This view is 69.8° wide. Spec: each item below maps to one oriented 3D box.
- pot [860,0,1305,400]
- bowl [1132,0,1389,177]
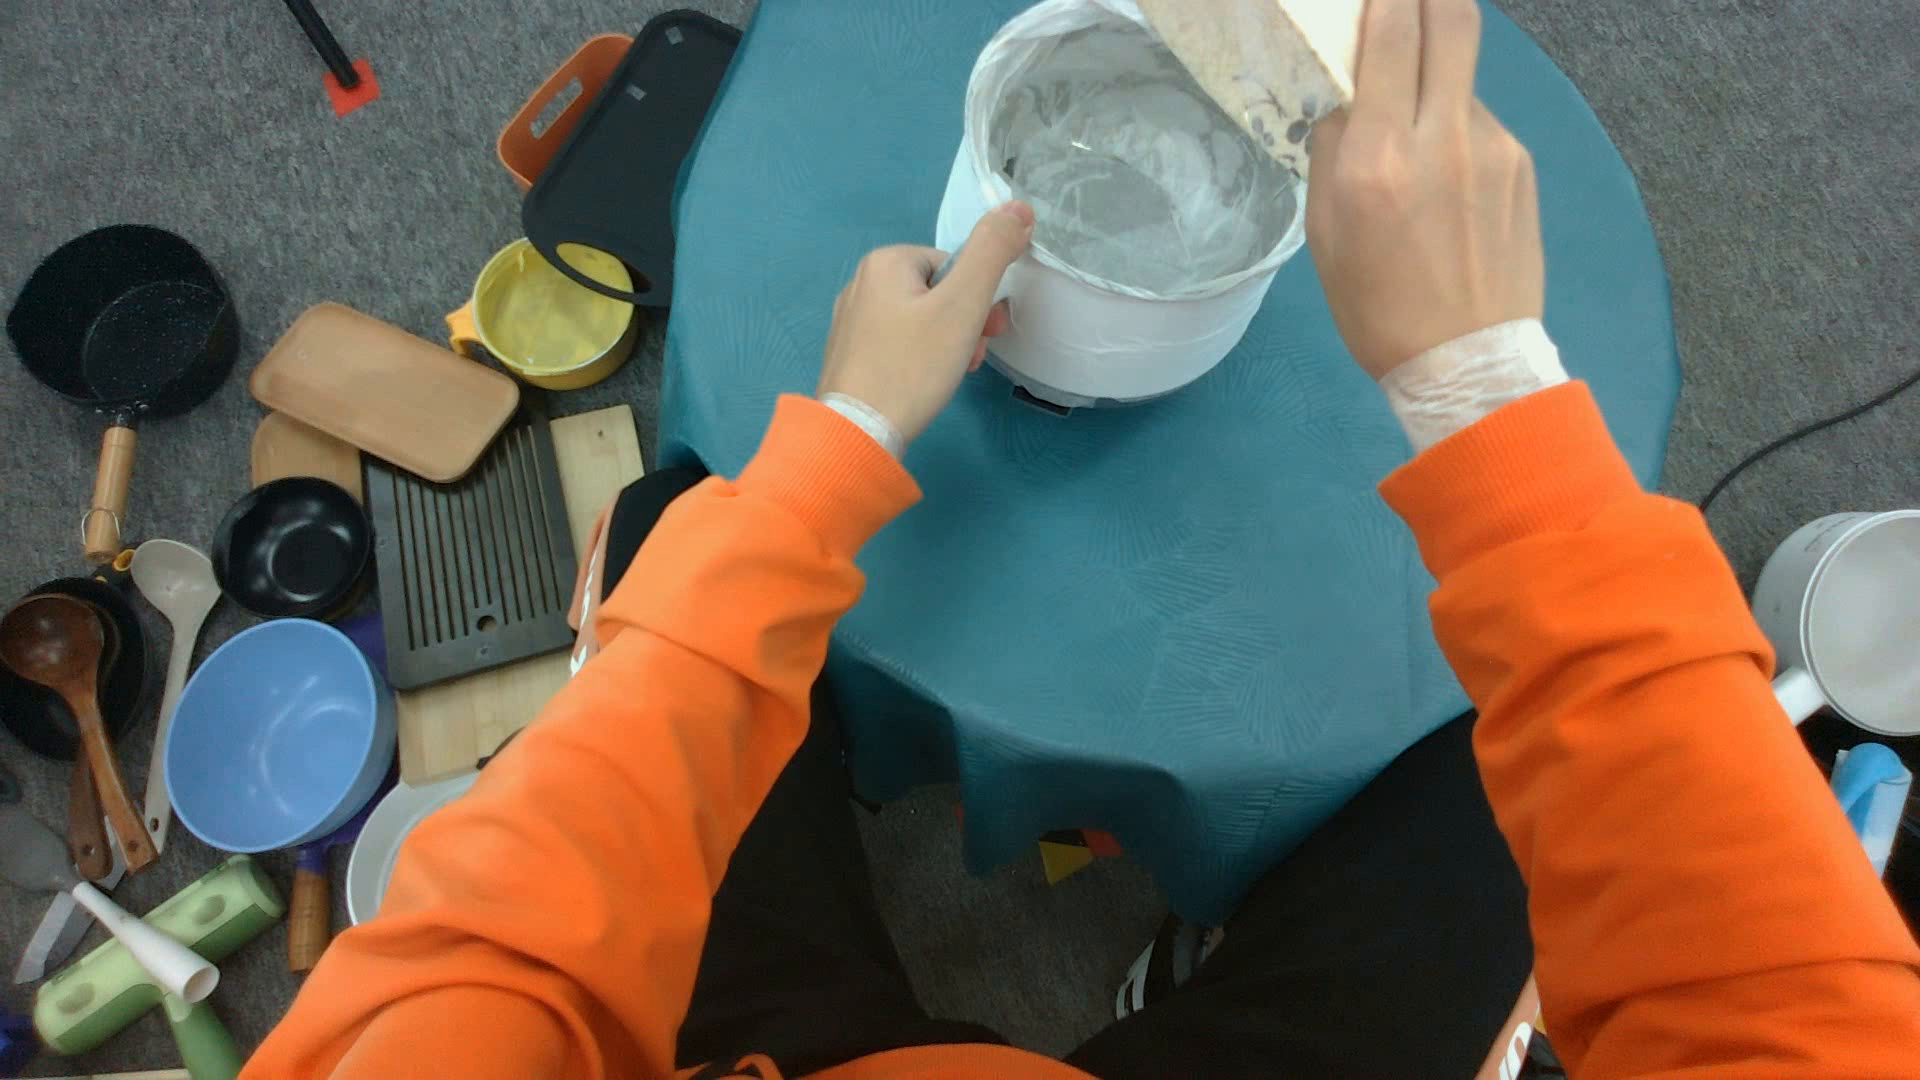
[{"bbox_3d":[0.050,-0.161,0.698,0.234,0.136,0.179,-39,79,-22],"label":"pot"},{"bbox_3d":[0.119,-0.247,0.551,0.078,0.204,0.204,-44,78,8],"label":"bowl"}]
